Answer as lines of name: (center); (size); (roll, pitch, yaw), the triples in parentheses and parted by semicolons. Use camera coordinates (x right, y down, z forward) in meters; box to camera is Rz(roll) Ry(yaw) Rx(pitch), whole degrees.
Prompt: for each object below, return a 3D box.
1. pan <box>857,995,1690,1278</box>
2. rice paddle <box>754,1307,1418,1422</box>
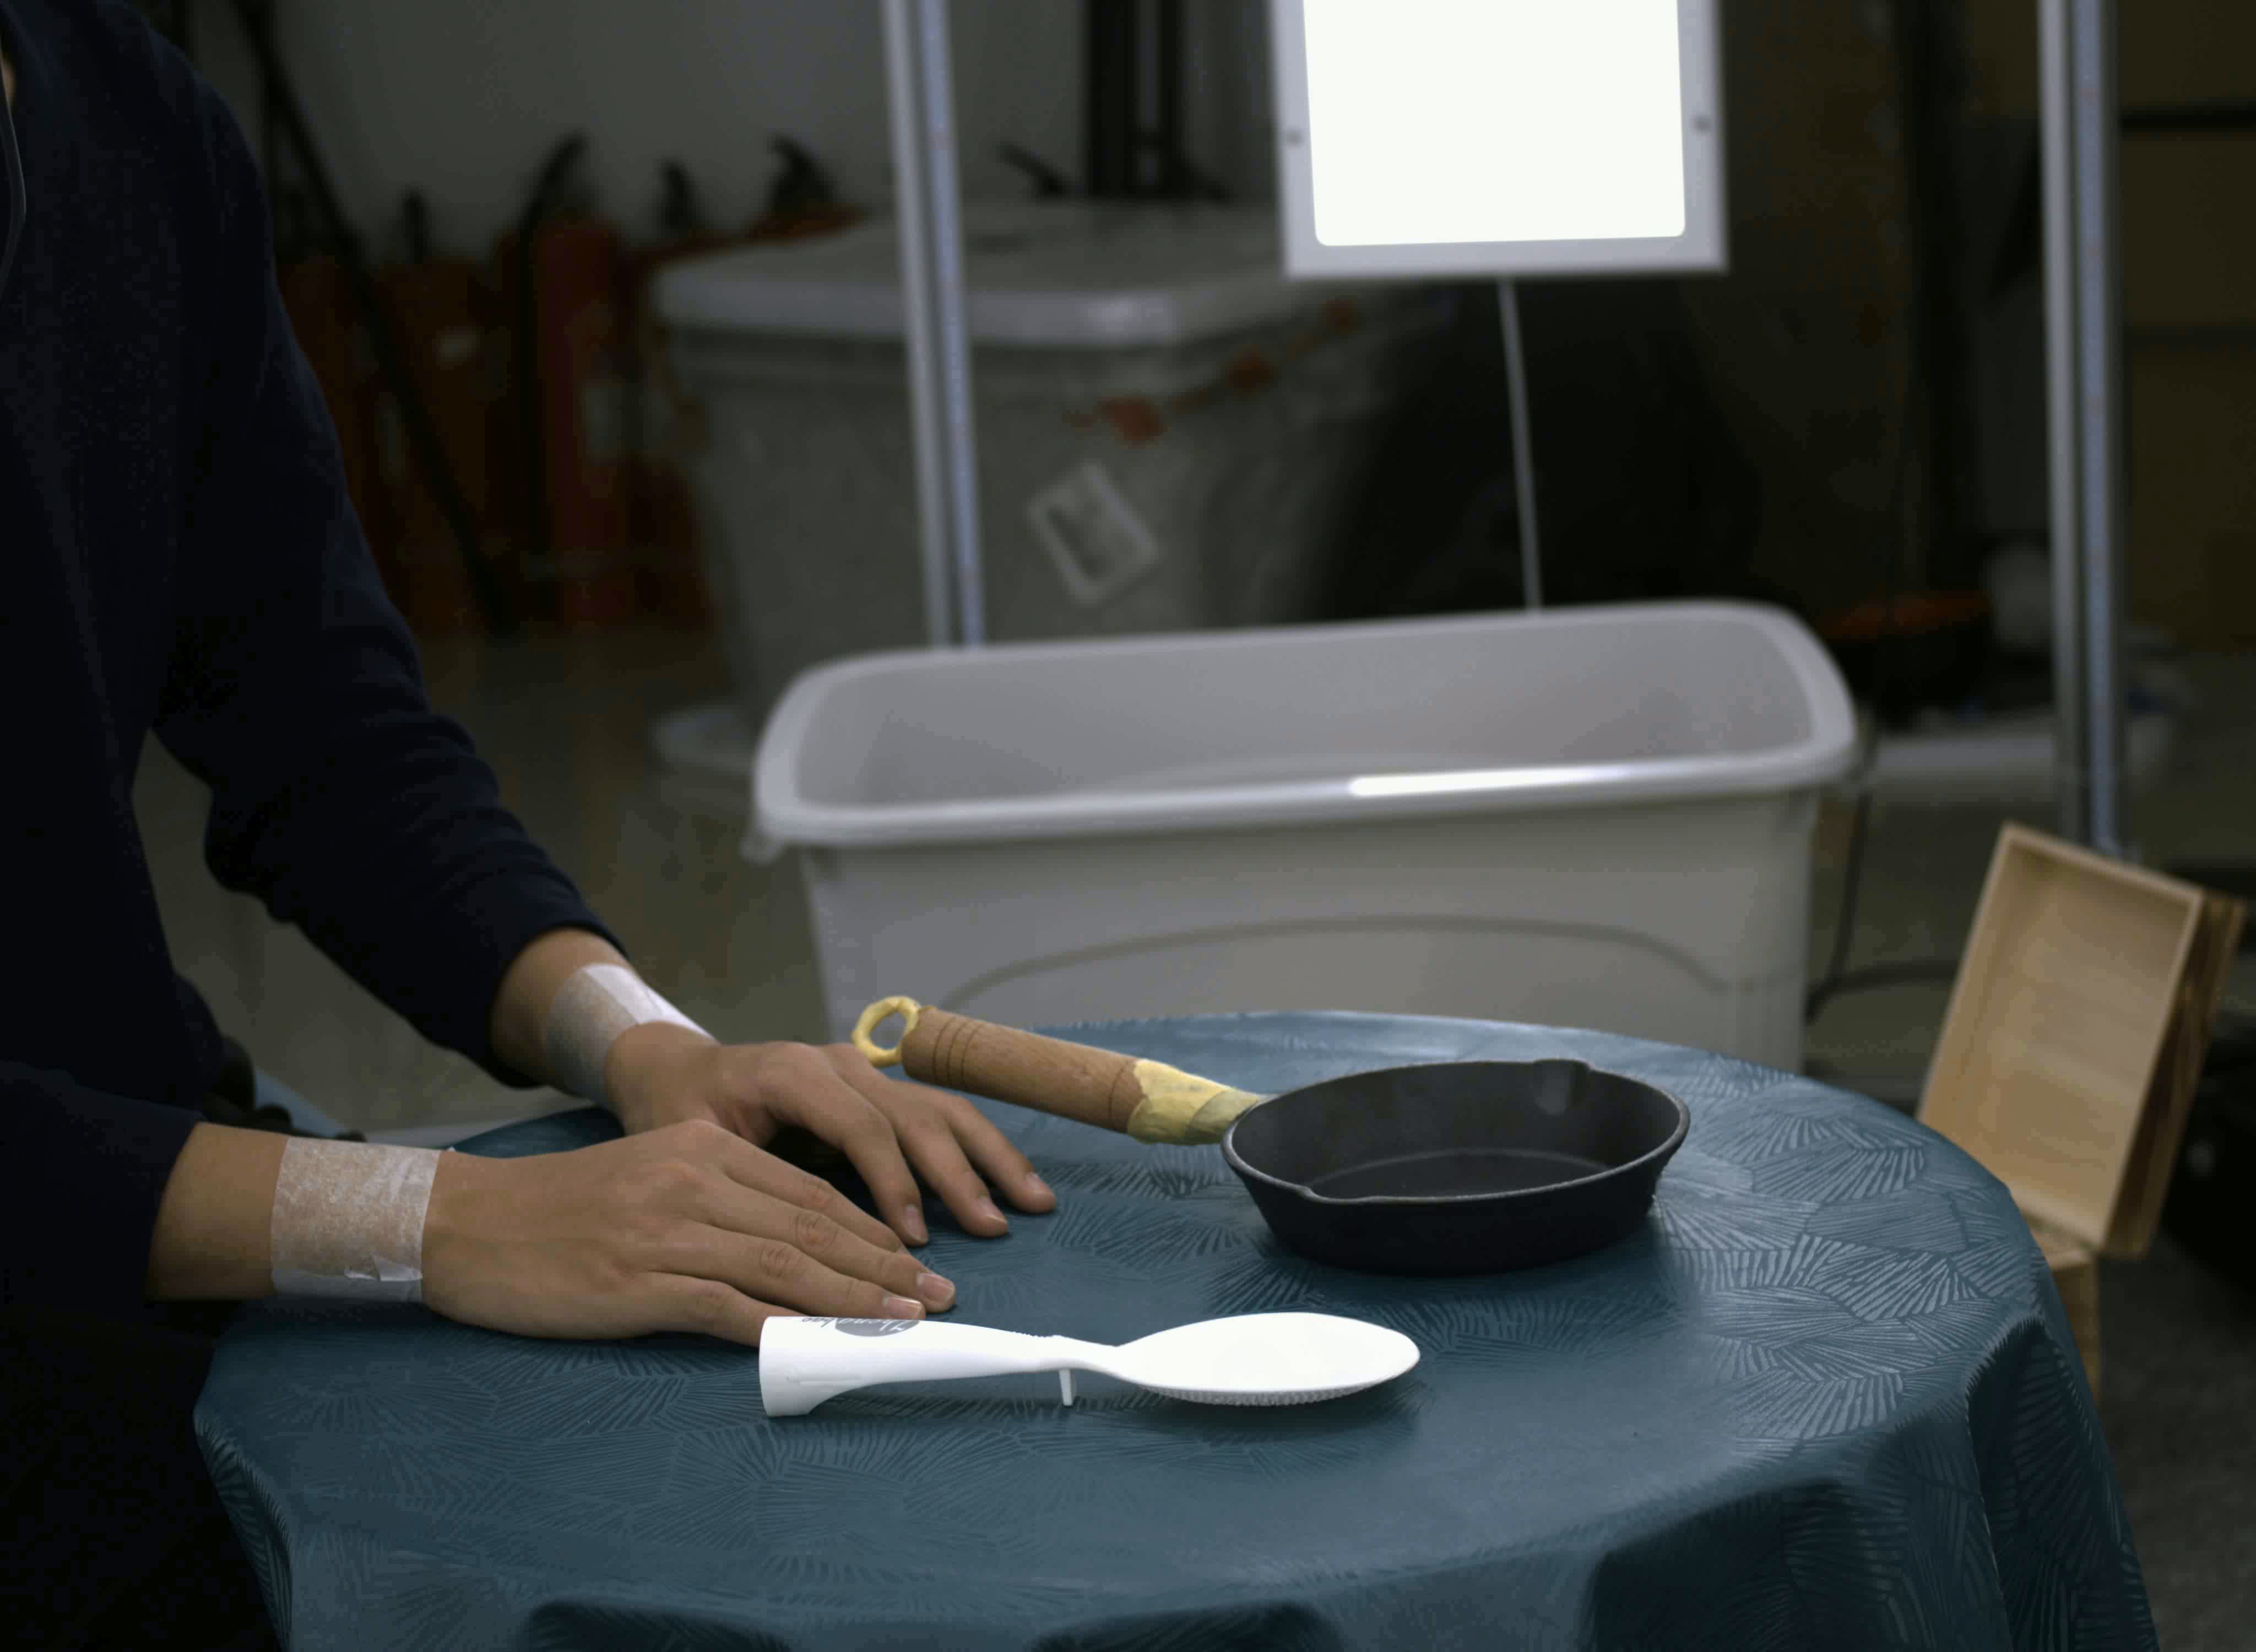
pan: (0.041, 0.100, 1.884); (0.331, 0.050, 0.165); (7, 18, 36)
rice paddle: (-0.013, 0.163, 1.694); (0.206, 0.029, 0.068); (-3, 16, 10)
